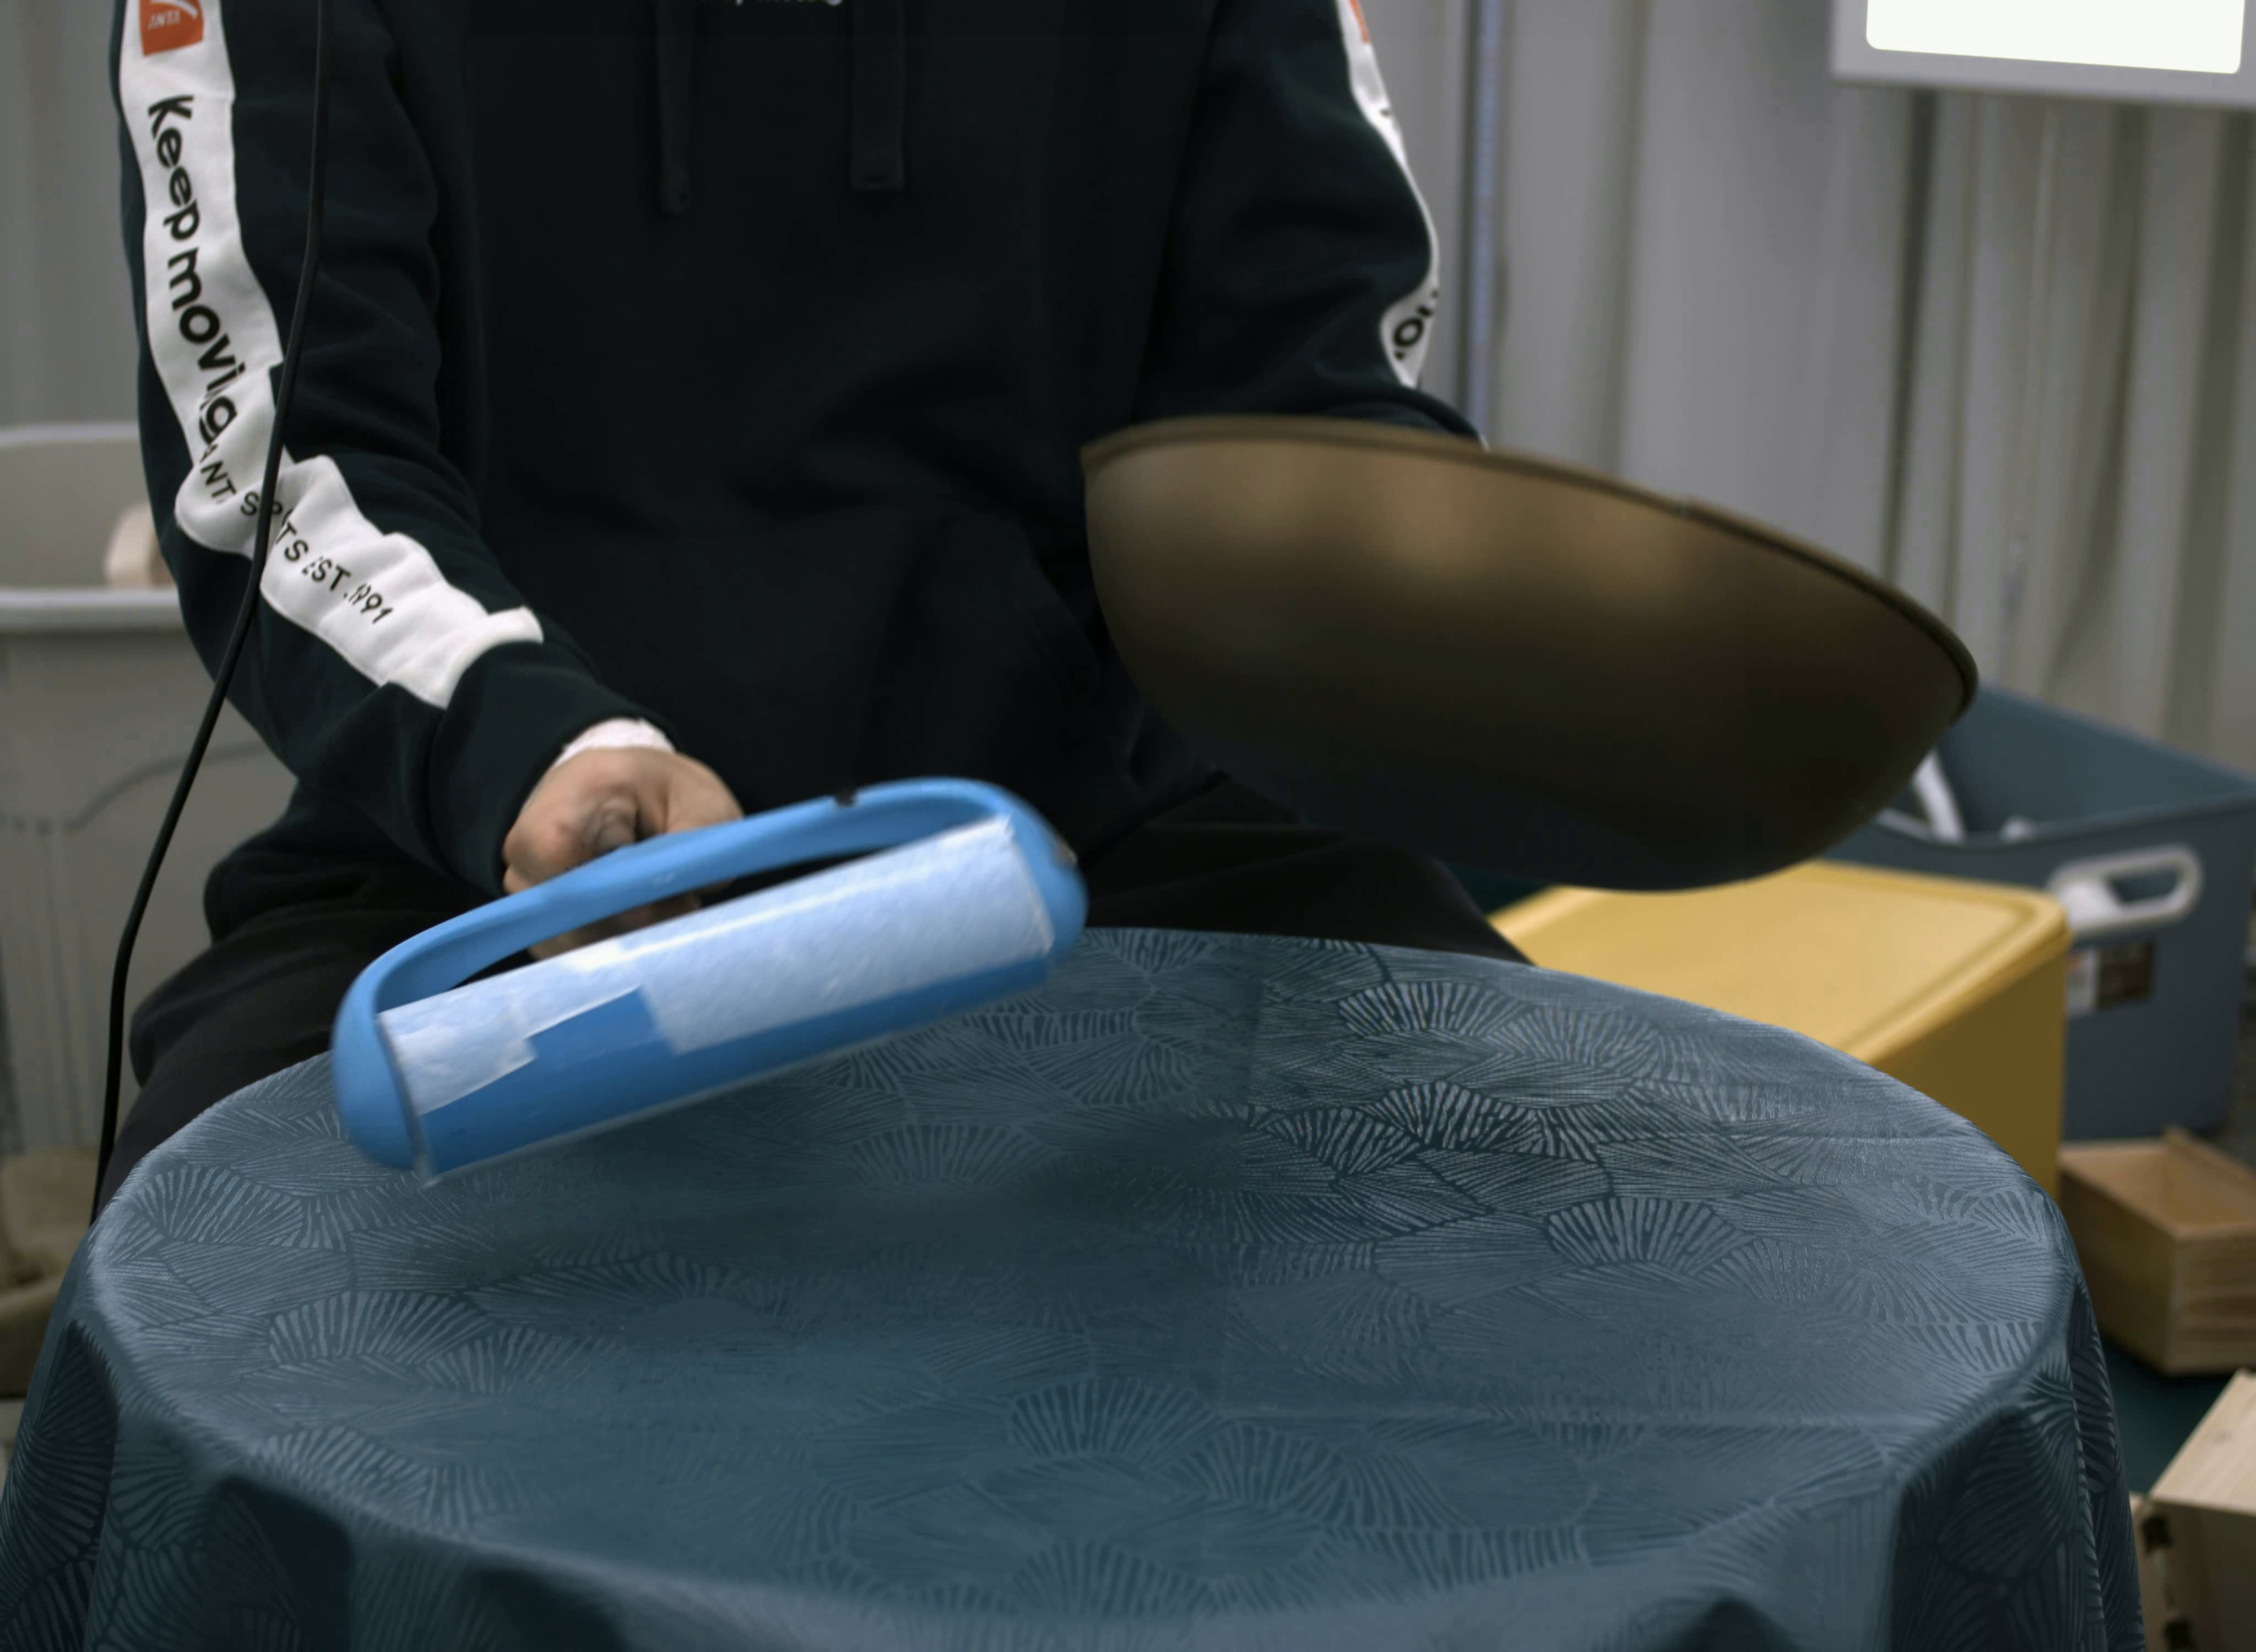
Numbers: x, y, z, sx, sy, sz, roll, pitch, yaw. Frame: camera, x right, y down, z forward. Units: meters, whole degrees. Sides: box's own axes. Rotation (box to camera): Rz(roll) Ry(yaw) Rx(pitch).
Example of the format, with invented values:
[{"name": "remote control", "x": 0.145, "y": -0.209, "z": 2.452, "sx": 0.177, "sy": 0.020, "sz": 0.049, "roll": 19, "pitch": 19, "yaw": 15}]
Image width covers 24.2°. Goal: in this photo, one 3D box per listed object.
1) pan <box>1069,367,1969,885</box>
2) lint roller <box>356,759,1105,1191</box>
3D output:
[{"name": "pan", "x": 0.092, "y": -0.030, "z": 1.696, "sx": 0.288, "sy": 0.087, "sz": 0.463, "roll": 17, "pitch": -13, "yaw": -8}, {"name": "lint roller", "x": -0.135, "y": 0.033, "z": 1.584, "sx": 0.229, "sy": 0.068, "sz": 0.178, "roll": -22, "pitch": 21, "yaw": -16}]
